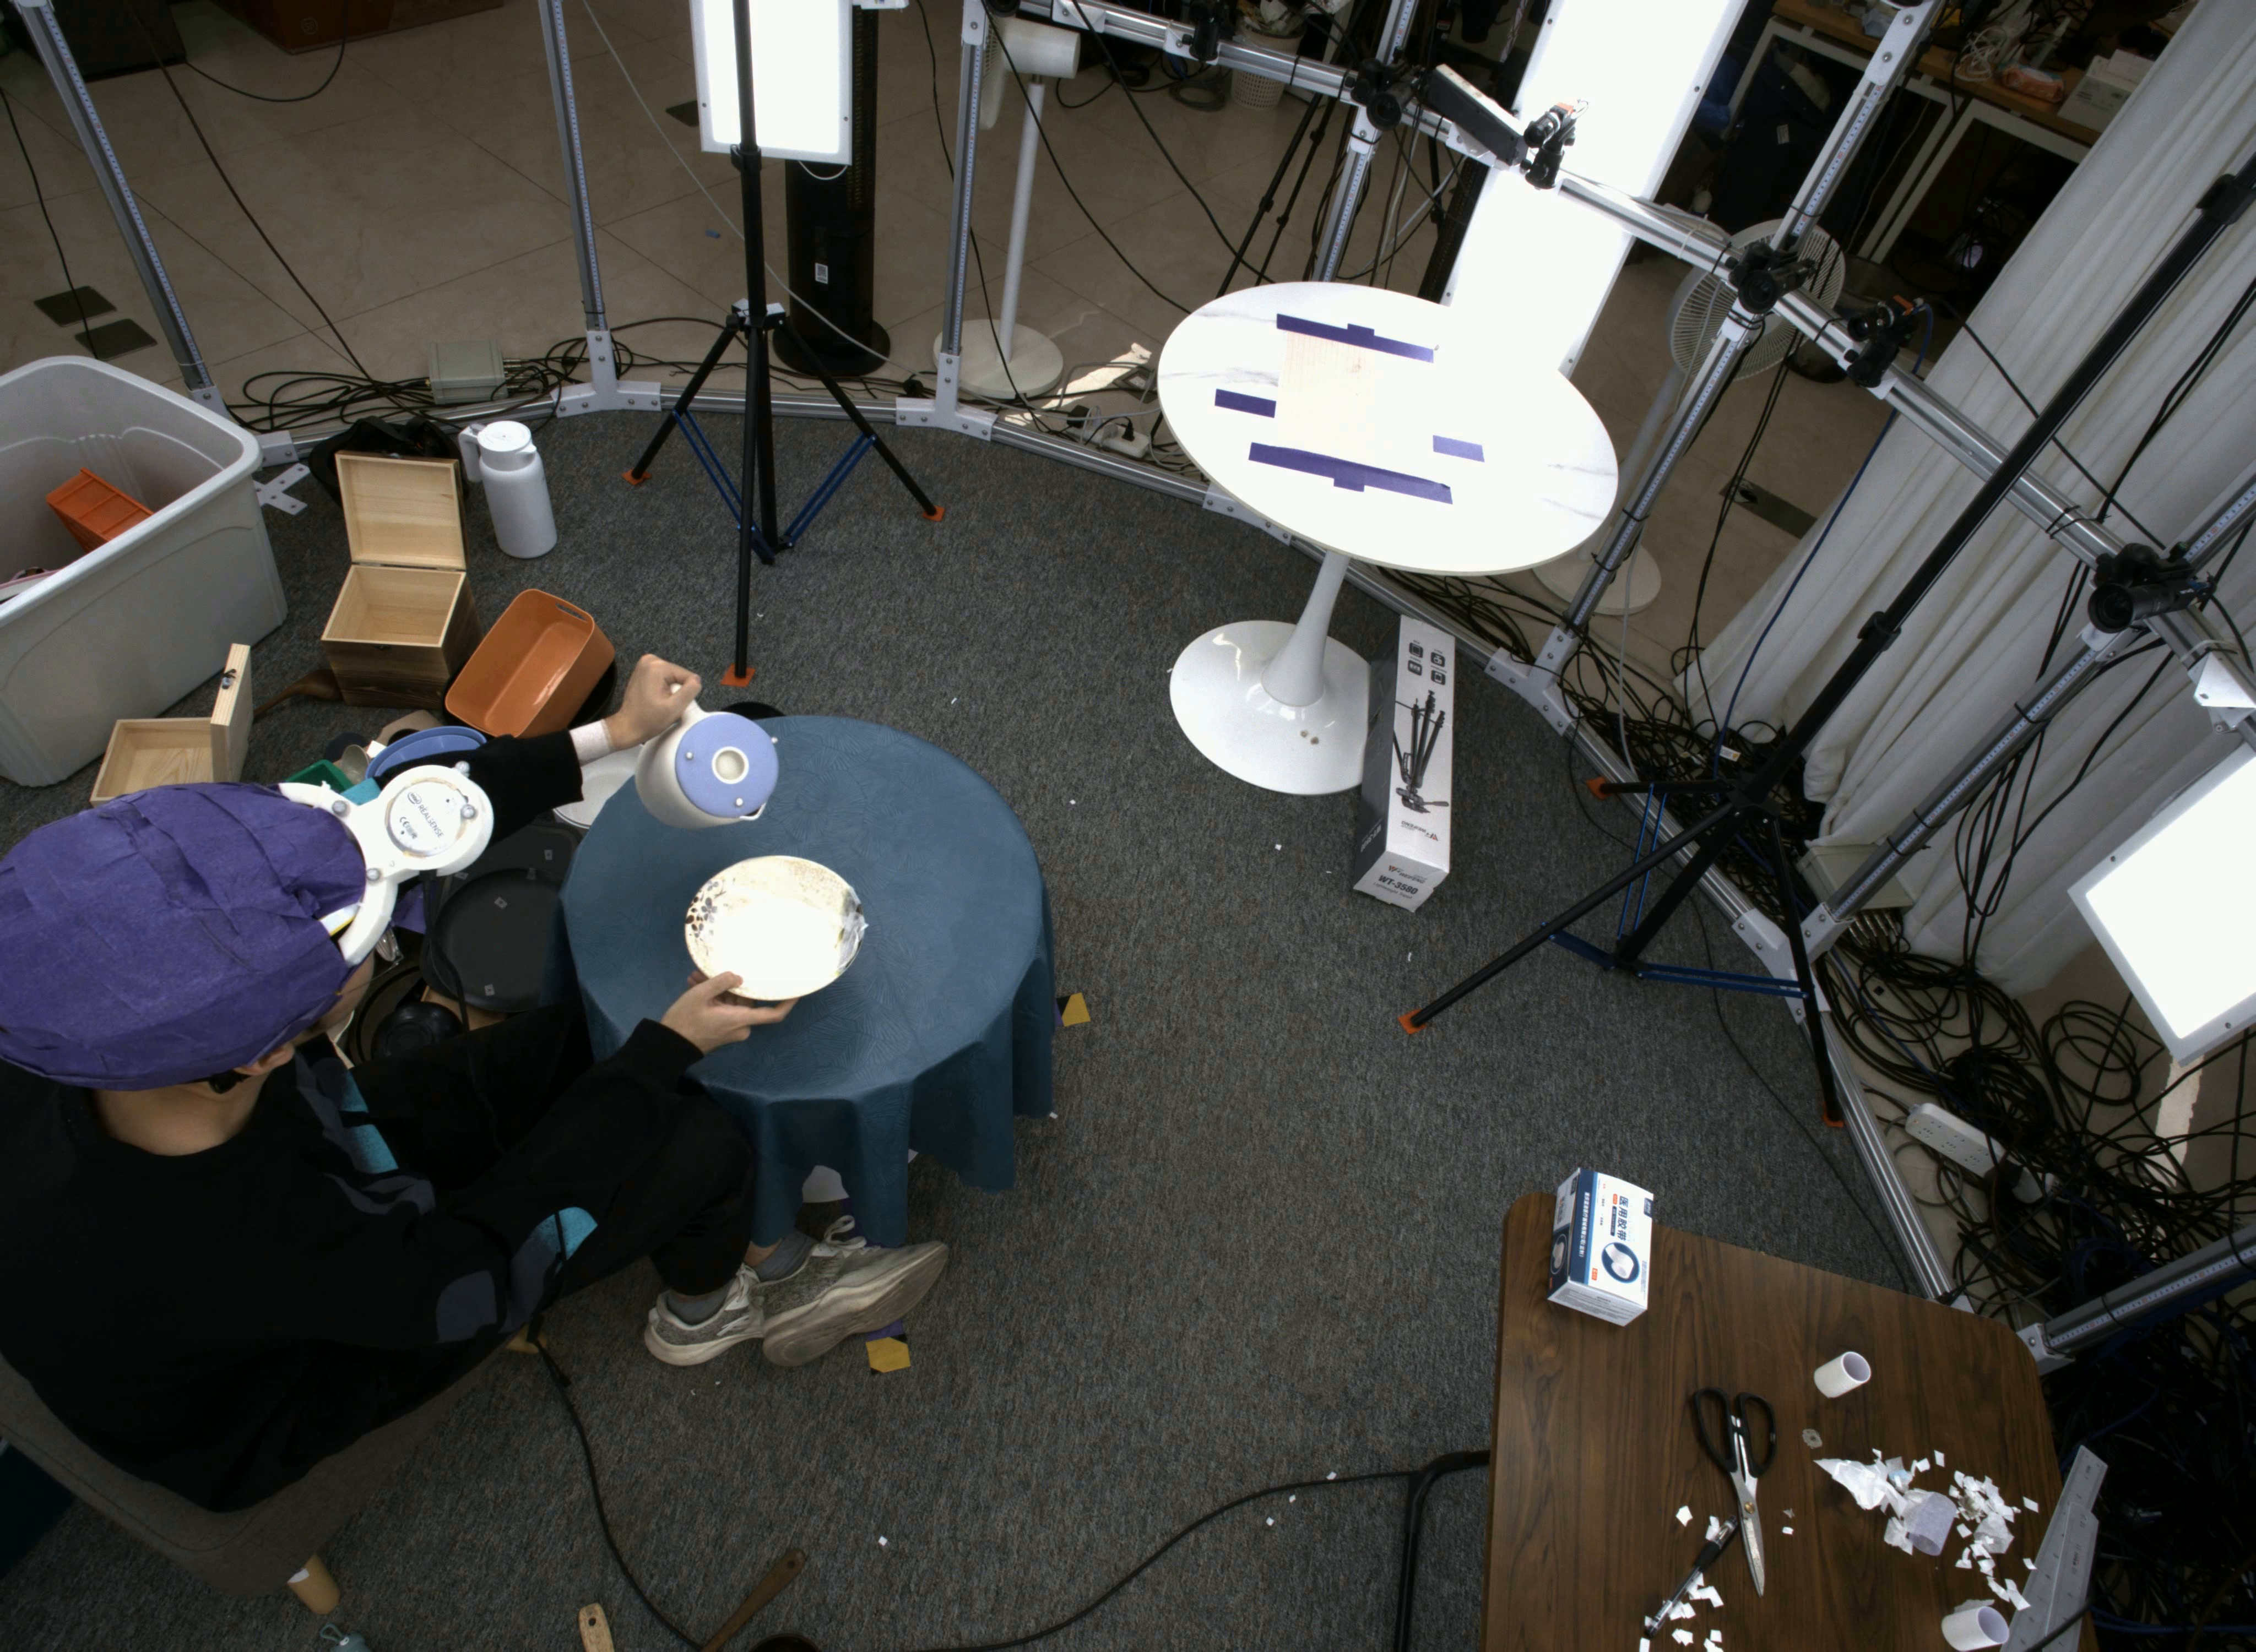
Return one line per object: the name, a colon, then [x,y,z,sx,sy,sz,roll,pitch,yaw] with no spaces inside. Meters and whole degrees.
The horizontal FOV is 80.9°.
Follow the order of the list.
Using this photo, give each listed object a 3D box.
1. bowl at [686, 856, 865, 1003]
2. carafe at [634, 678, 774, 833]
bowl: [-0.411,0.136,1.526,0.203,0.080,0.200,6,53,-6]
carafe: [-0.512,-0.087,1.510,0.132,0.178,0.196,-39,106,-31]
